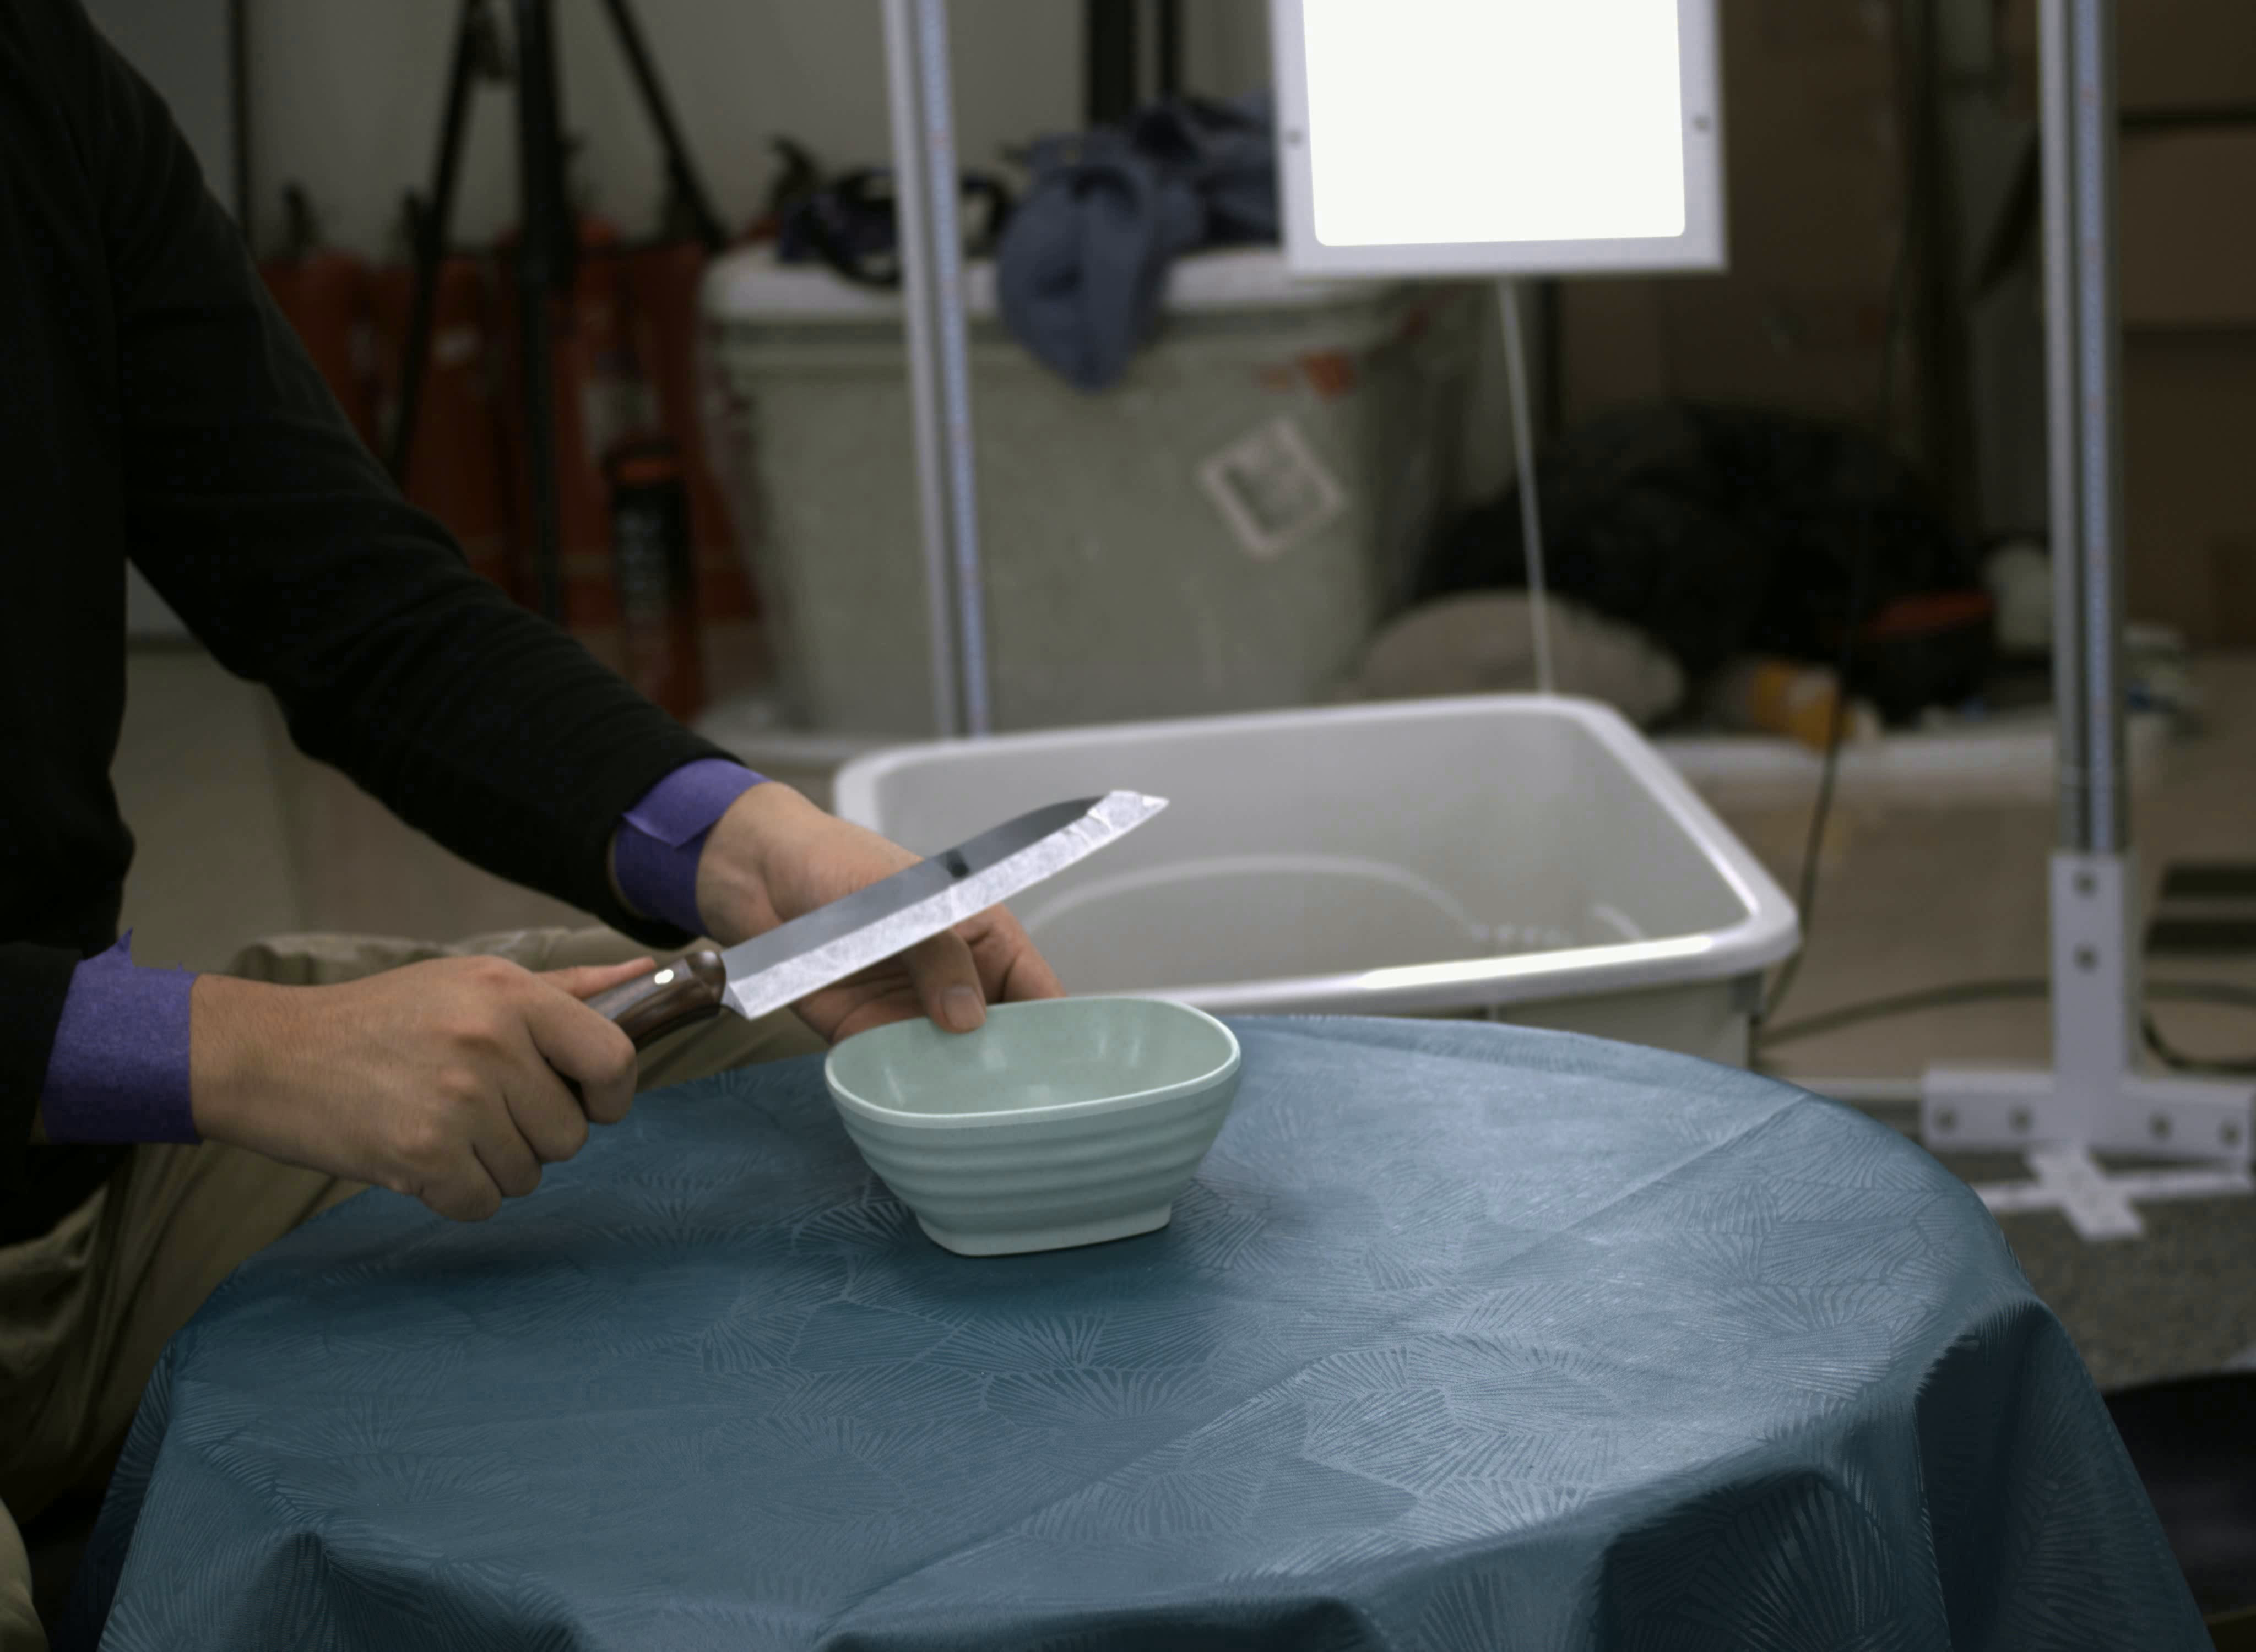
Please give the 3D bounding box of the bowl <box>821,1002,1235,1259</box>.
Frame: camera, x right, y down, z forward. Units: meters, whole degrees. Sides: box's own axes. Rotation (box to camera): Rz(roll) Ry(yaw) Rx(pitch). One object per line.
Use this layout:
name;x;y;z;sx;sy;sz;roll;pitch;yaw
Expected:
bowl;-0.033;0.106;1.876;0.151;0.059;0.151;-4;13;-1

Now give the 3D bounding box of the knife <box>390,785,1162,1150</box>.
knife;-0.119;0.045;1.901;0.287;0.020;0.051;-24;36;-6
